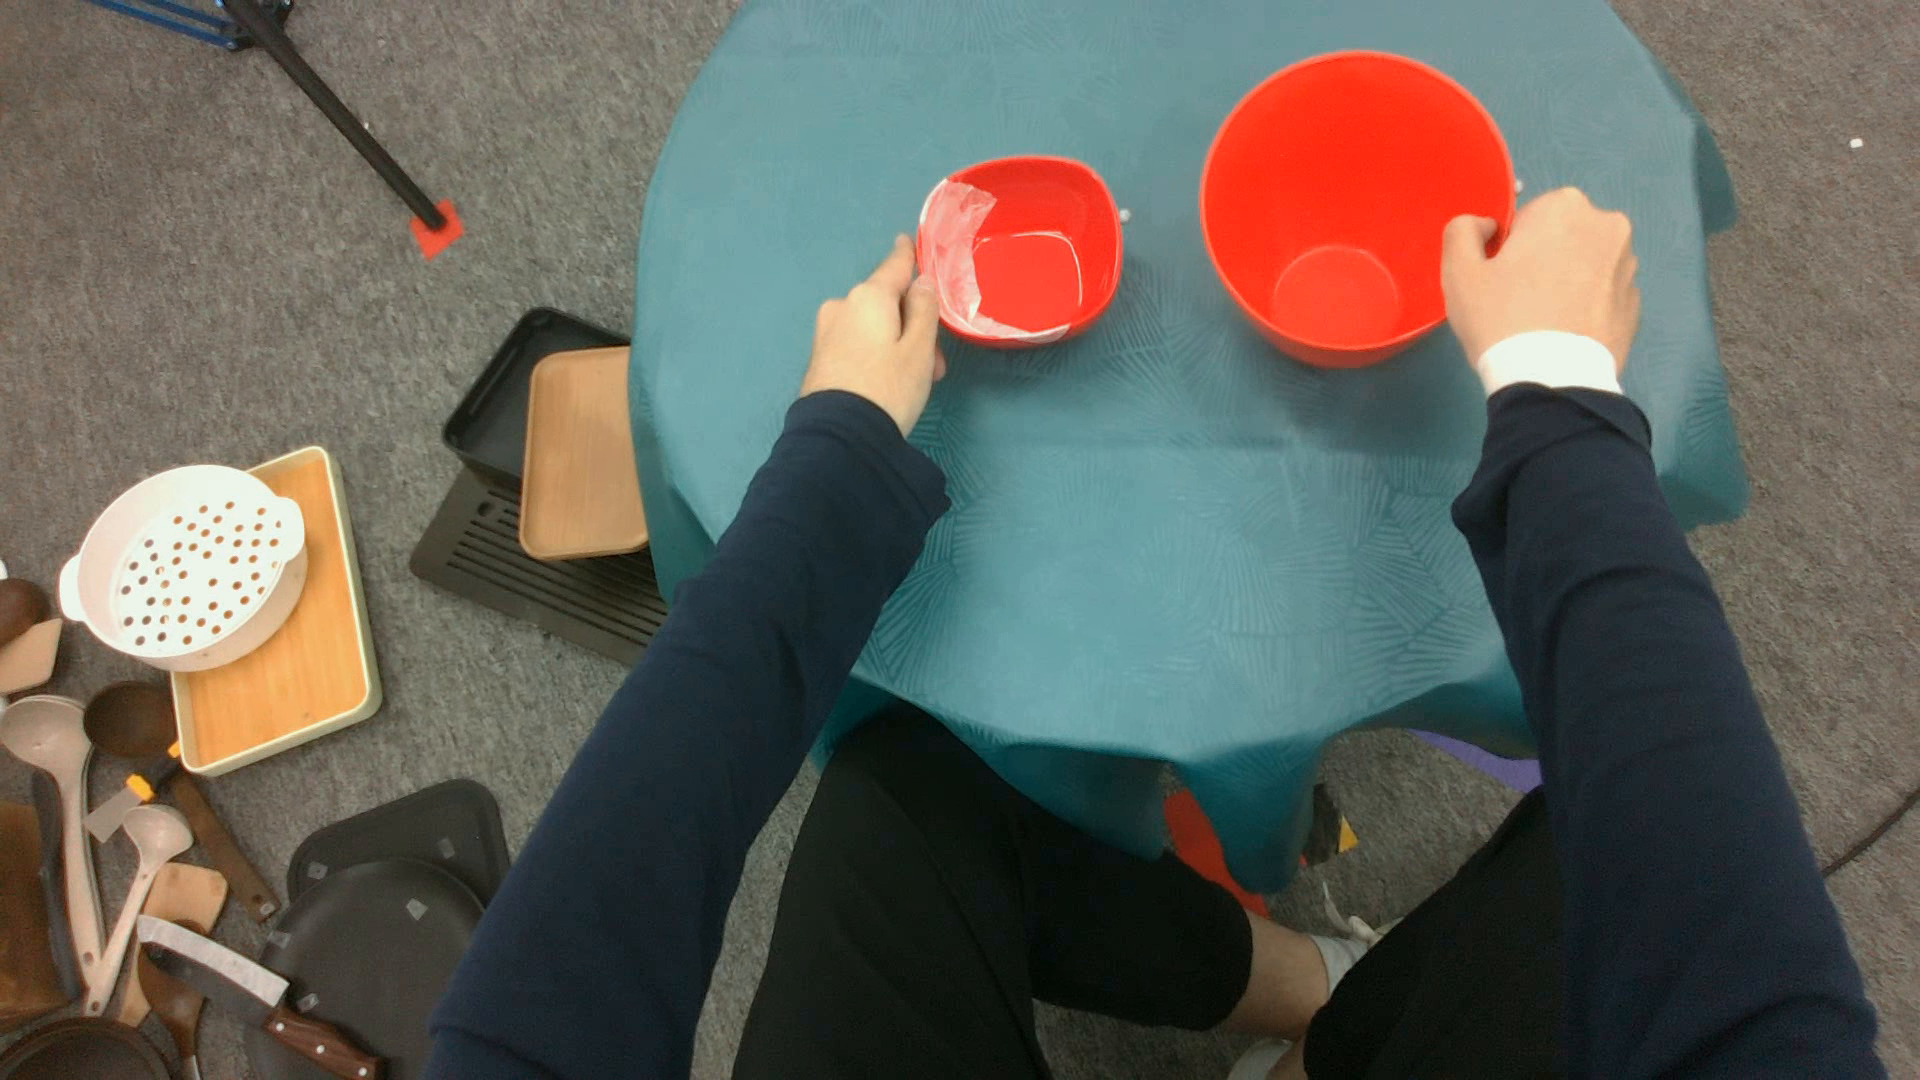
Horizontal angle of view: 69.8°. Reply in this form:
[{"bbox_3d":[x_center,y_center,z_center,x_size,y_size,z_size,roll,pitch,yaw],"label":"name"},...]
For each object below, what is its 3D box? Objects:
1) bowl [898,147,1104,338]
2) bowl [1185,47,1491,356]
[{"bbox_3d":[0.023,-0.155,0.758,0.119,0.051,0.119,-1,72,4],"label":"bowl"},{"bbox_3d":[0.189,-0.161,0.714,0.148,0.104,0.148,-2,72,6],"label":"bowl"}]
